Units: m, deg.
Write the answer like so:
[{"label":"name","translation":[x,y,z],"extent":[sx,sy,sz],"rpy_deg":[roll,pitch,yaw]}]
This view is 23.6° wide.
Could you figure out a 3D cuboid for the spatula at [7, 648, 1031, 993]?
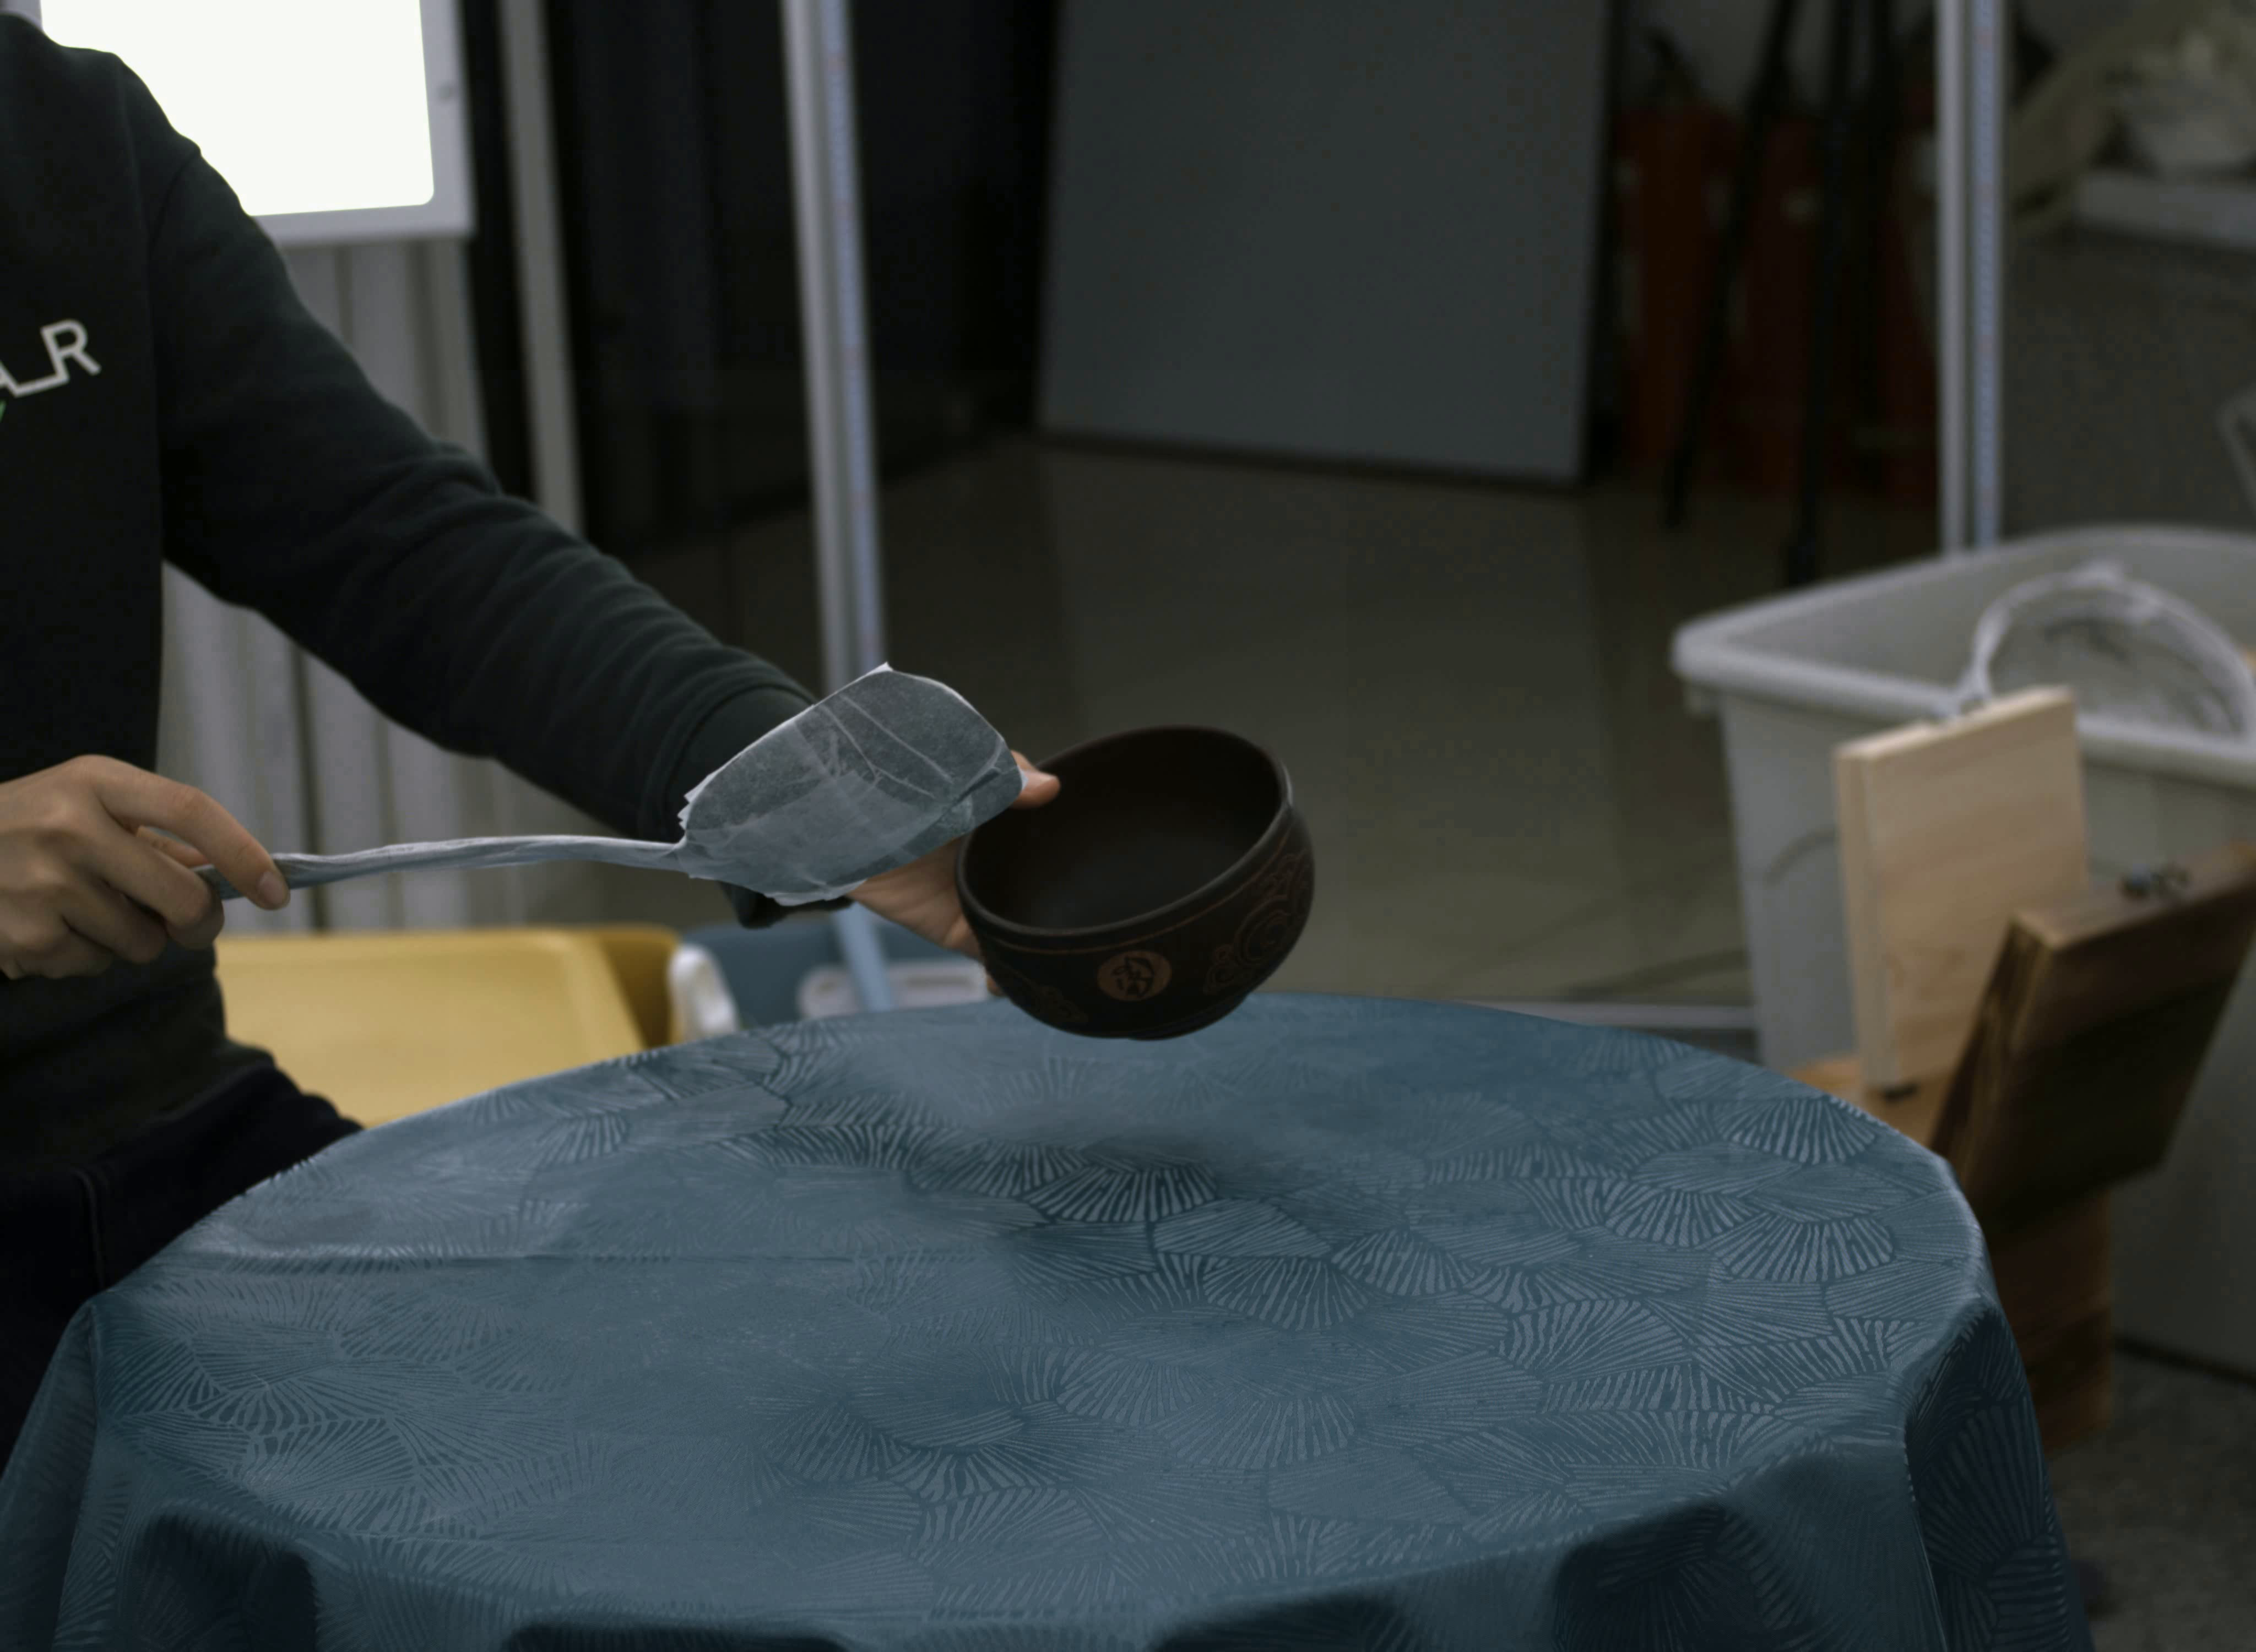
[{"label":"spatula","translation":[-0.204,0.007,1.694],"extent":[0.365,0.045,0.097],"rpy_deg":[-8,-28,24]}]

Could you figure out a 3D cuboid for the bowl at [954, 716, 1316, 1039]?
[{"label":"bowl","translation":[0.007,0.025,1.766],"extent":[0.117,0.070,0.118],"rpy_deg":[-16,30,8]}]
